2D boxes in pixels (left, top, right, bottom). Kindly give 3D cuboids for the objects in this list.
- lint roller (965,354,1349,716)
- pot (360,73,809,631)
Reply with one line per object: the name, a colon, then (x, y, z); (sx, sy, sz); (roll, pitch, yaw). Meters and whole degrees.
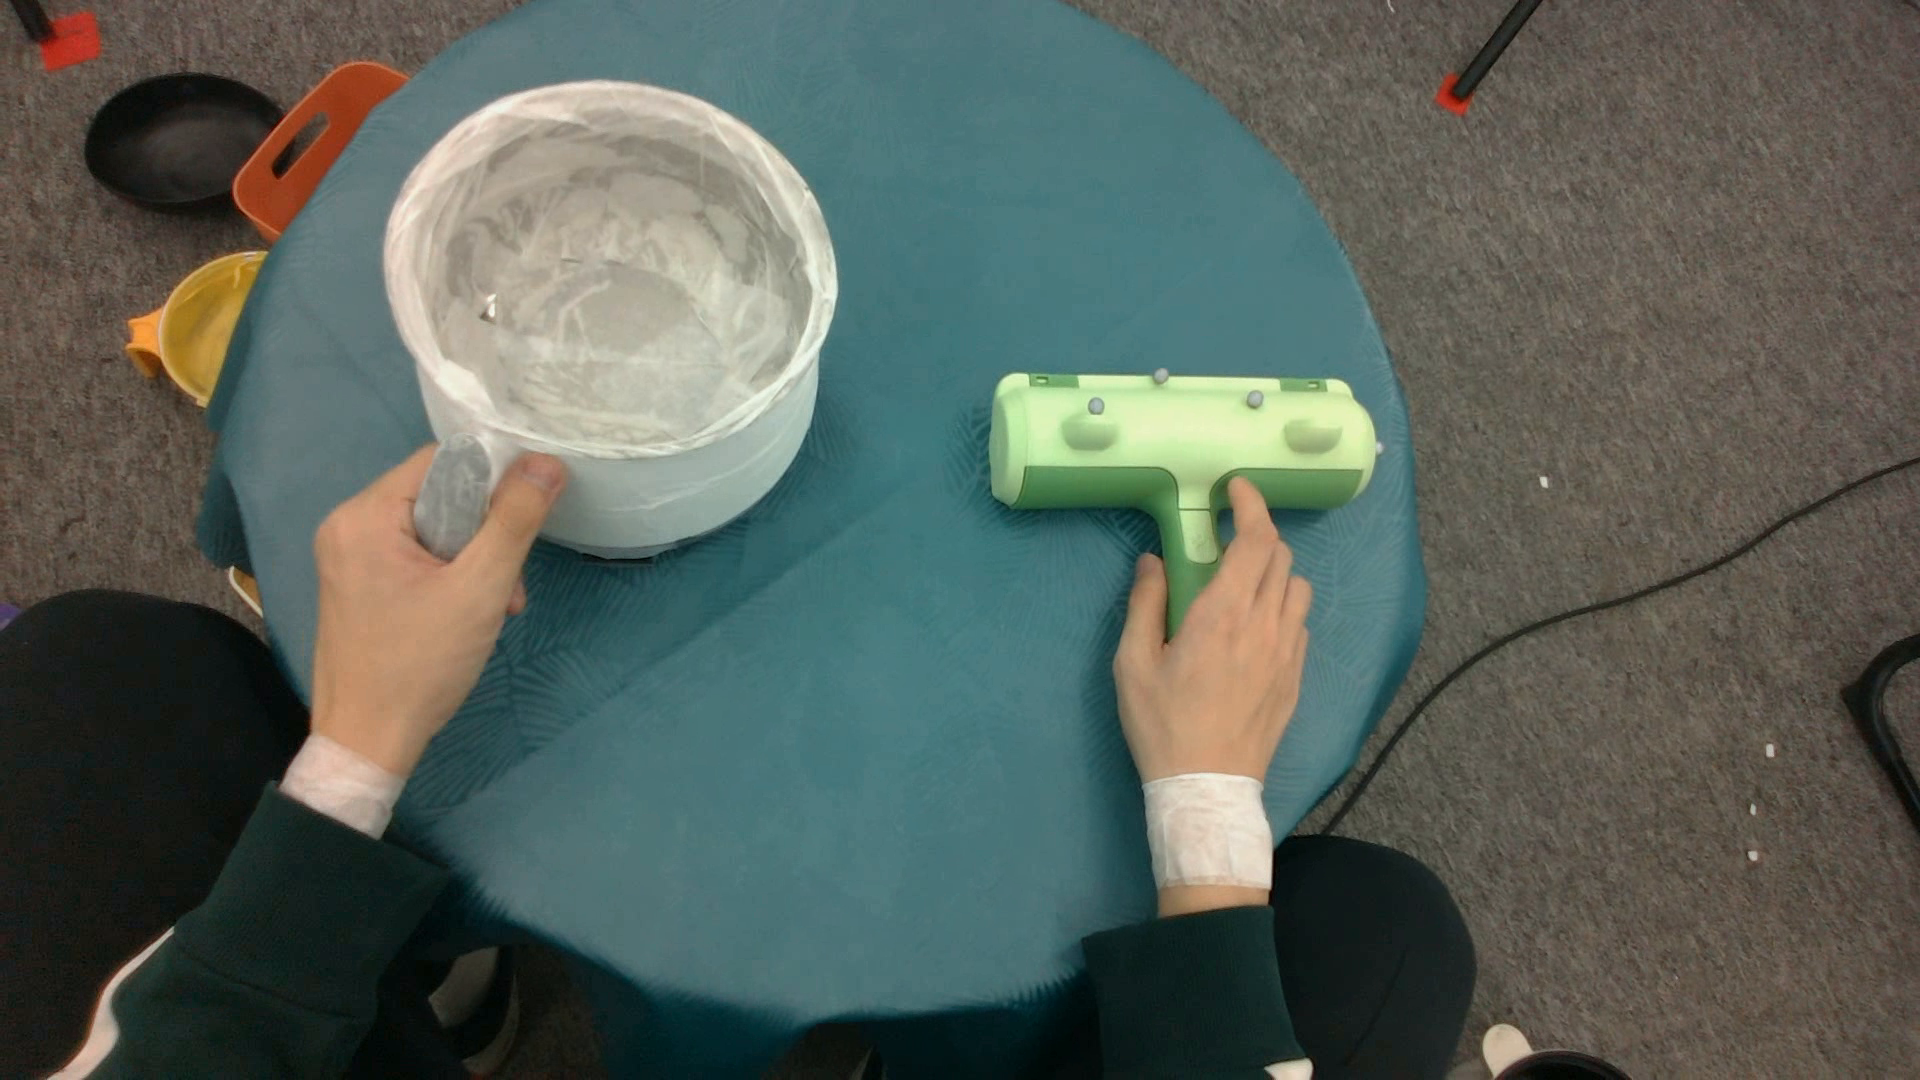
lint roller: (0.109, -0.011, 0.678); (0.199, 0.082, 0.184); (-1, 65, -14)
pot: (-0.174, -0.073, 0.605); (0.179, 0.136, 0.234); (27, 65, 0)
